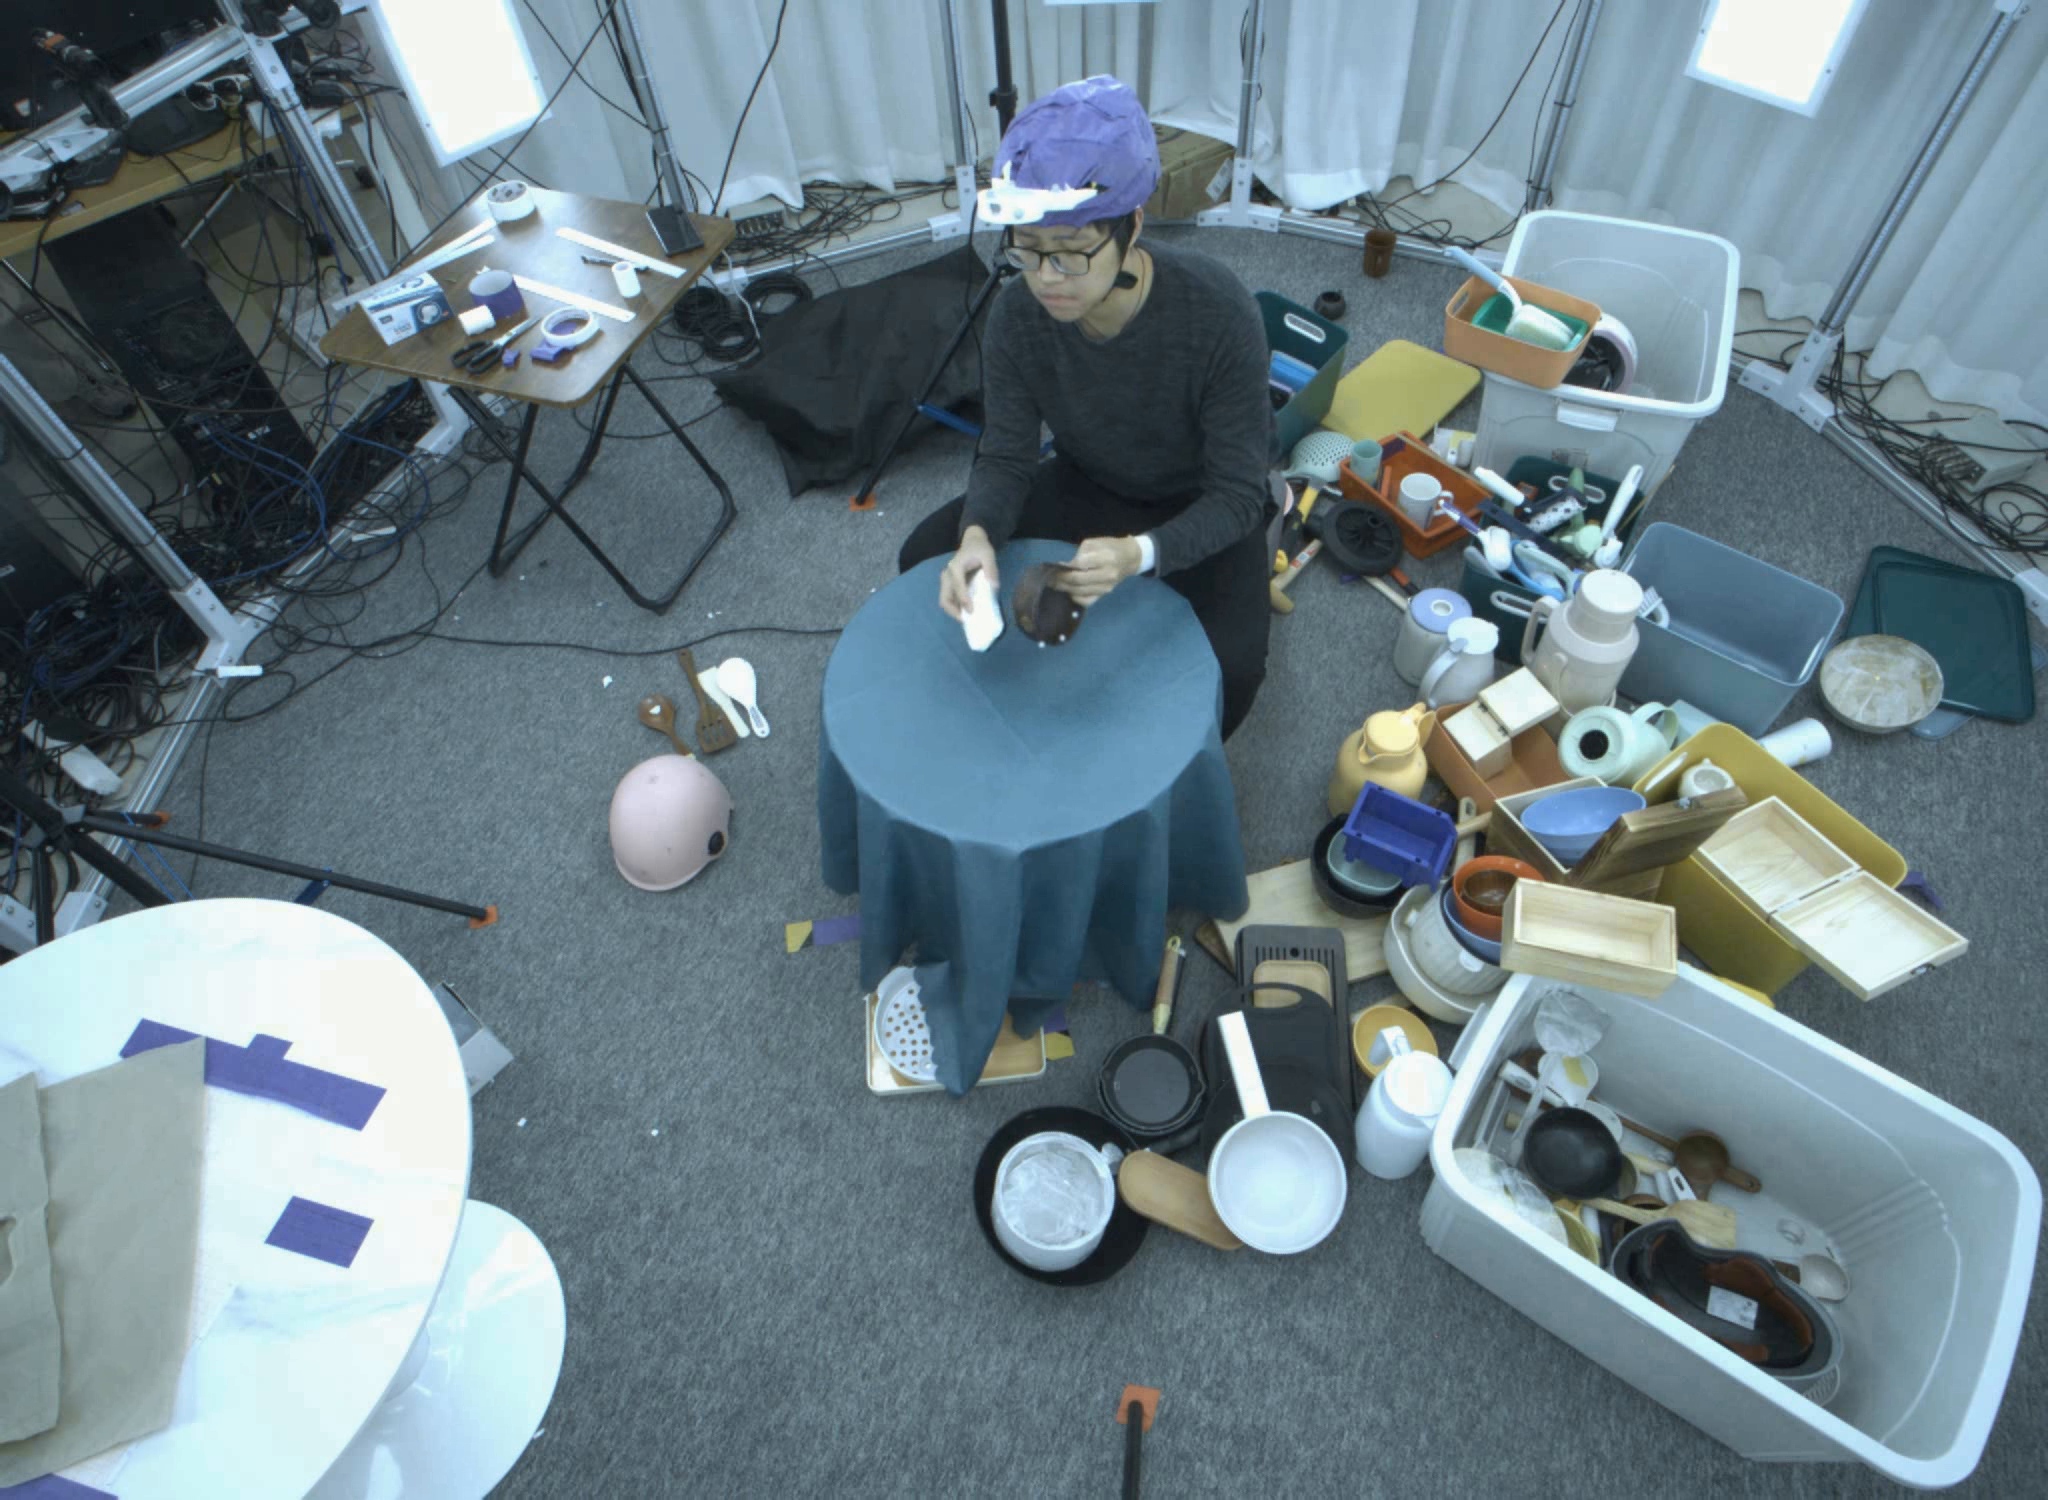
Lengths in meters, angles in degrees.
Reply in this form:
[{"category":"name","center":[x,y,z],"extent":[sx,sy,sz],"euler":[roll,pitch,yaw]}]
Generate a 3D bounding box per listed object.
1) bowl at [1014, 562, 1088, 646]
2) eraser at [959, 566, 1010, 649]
[{"category":"bowl","center":[0.029,-0.208,1.736],"extent":[0.068,0.120,0.118],"euler":[11,54,36]},{"category":"eraser","center":[-0.059,-0.207,1.772],"extent":[0.035,0.063,0.129],"euler":[17,42,-36]}]
